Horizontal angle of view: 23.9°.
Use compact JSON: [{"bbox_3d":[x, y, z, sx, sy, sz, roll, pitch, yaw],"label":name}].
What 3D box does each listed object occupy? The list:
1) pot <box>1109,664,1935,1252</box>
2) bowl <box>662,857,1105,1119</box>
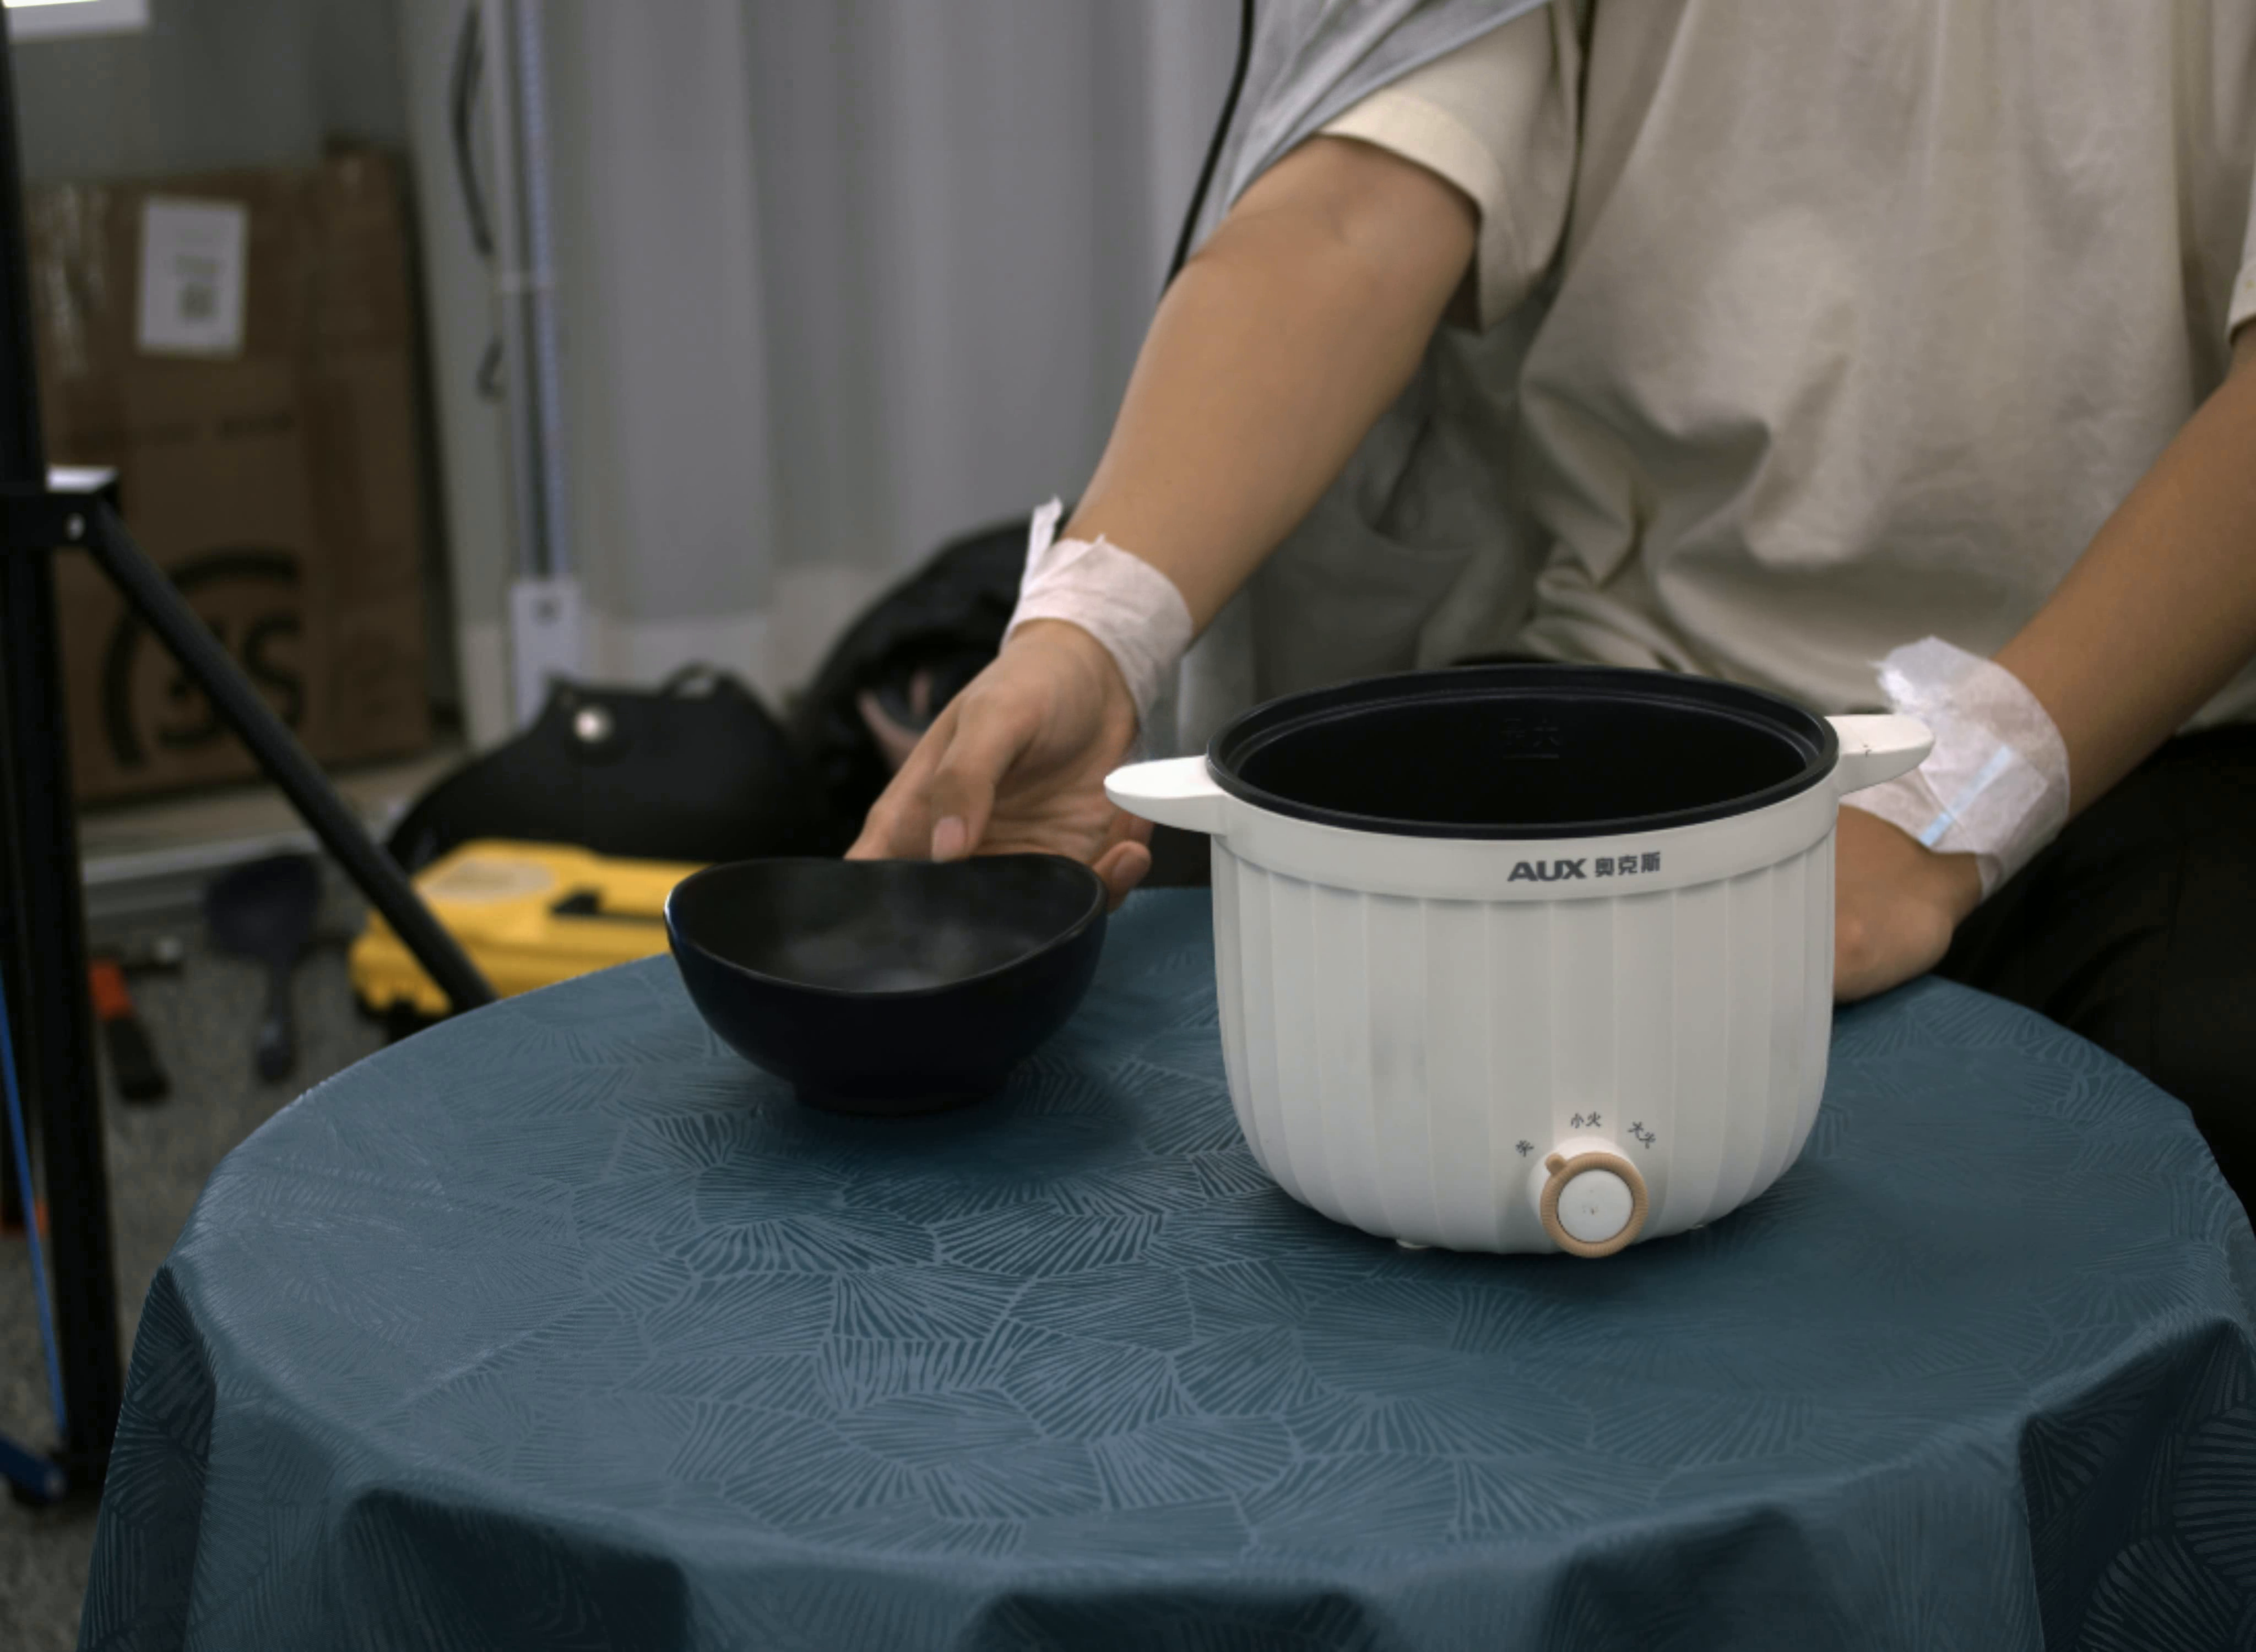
[{"bbox_3d":[0.117,0.041,1.522,0.238,0.143,0.192,-5,12,-5],"label":"pot"},{"bbox_3d":[-0.075,0.051,1.653,0.137,0.067,0.171,-1,14,1],"label":"bowl"}]
